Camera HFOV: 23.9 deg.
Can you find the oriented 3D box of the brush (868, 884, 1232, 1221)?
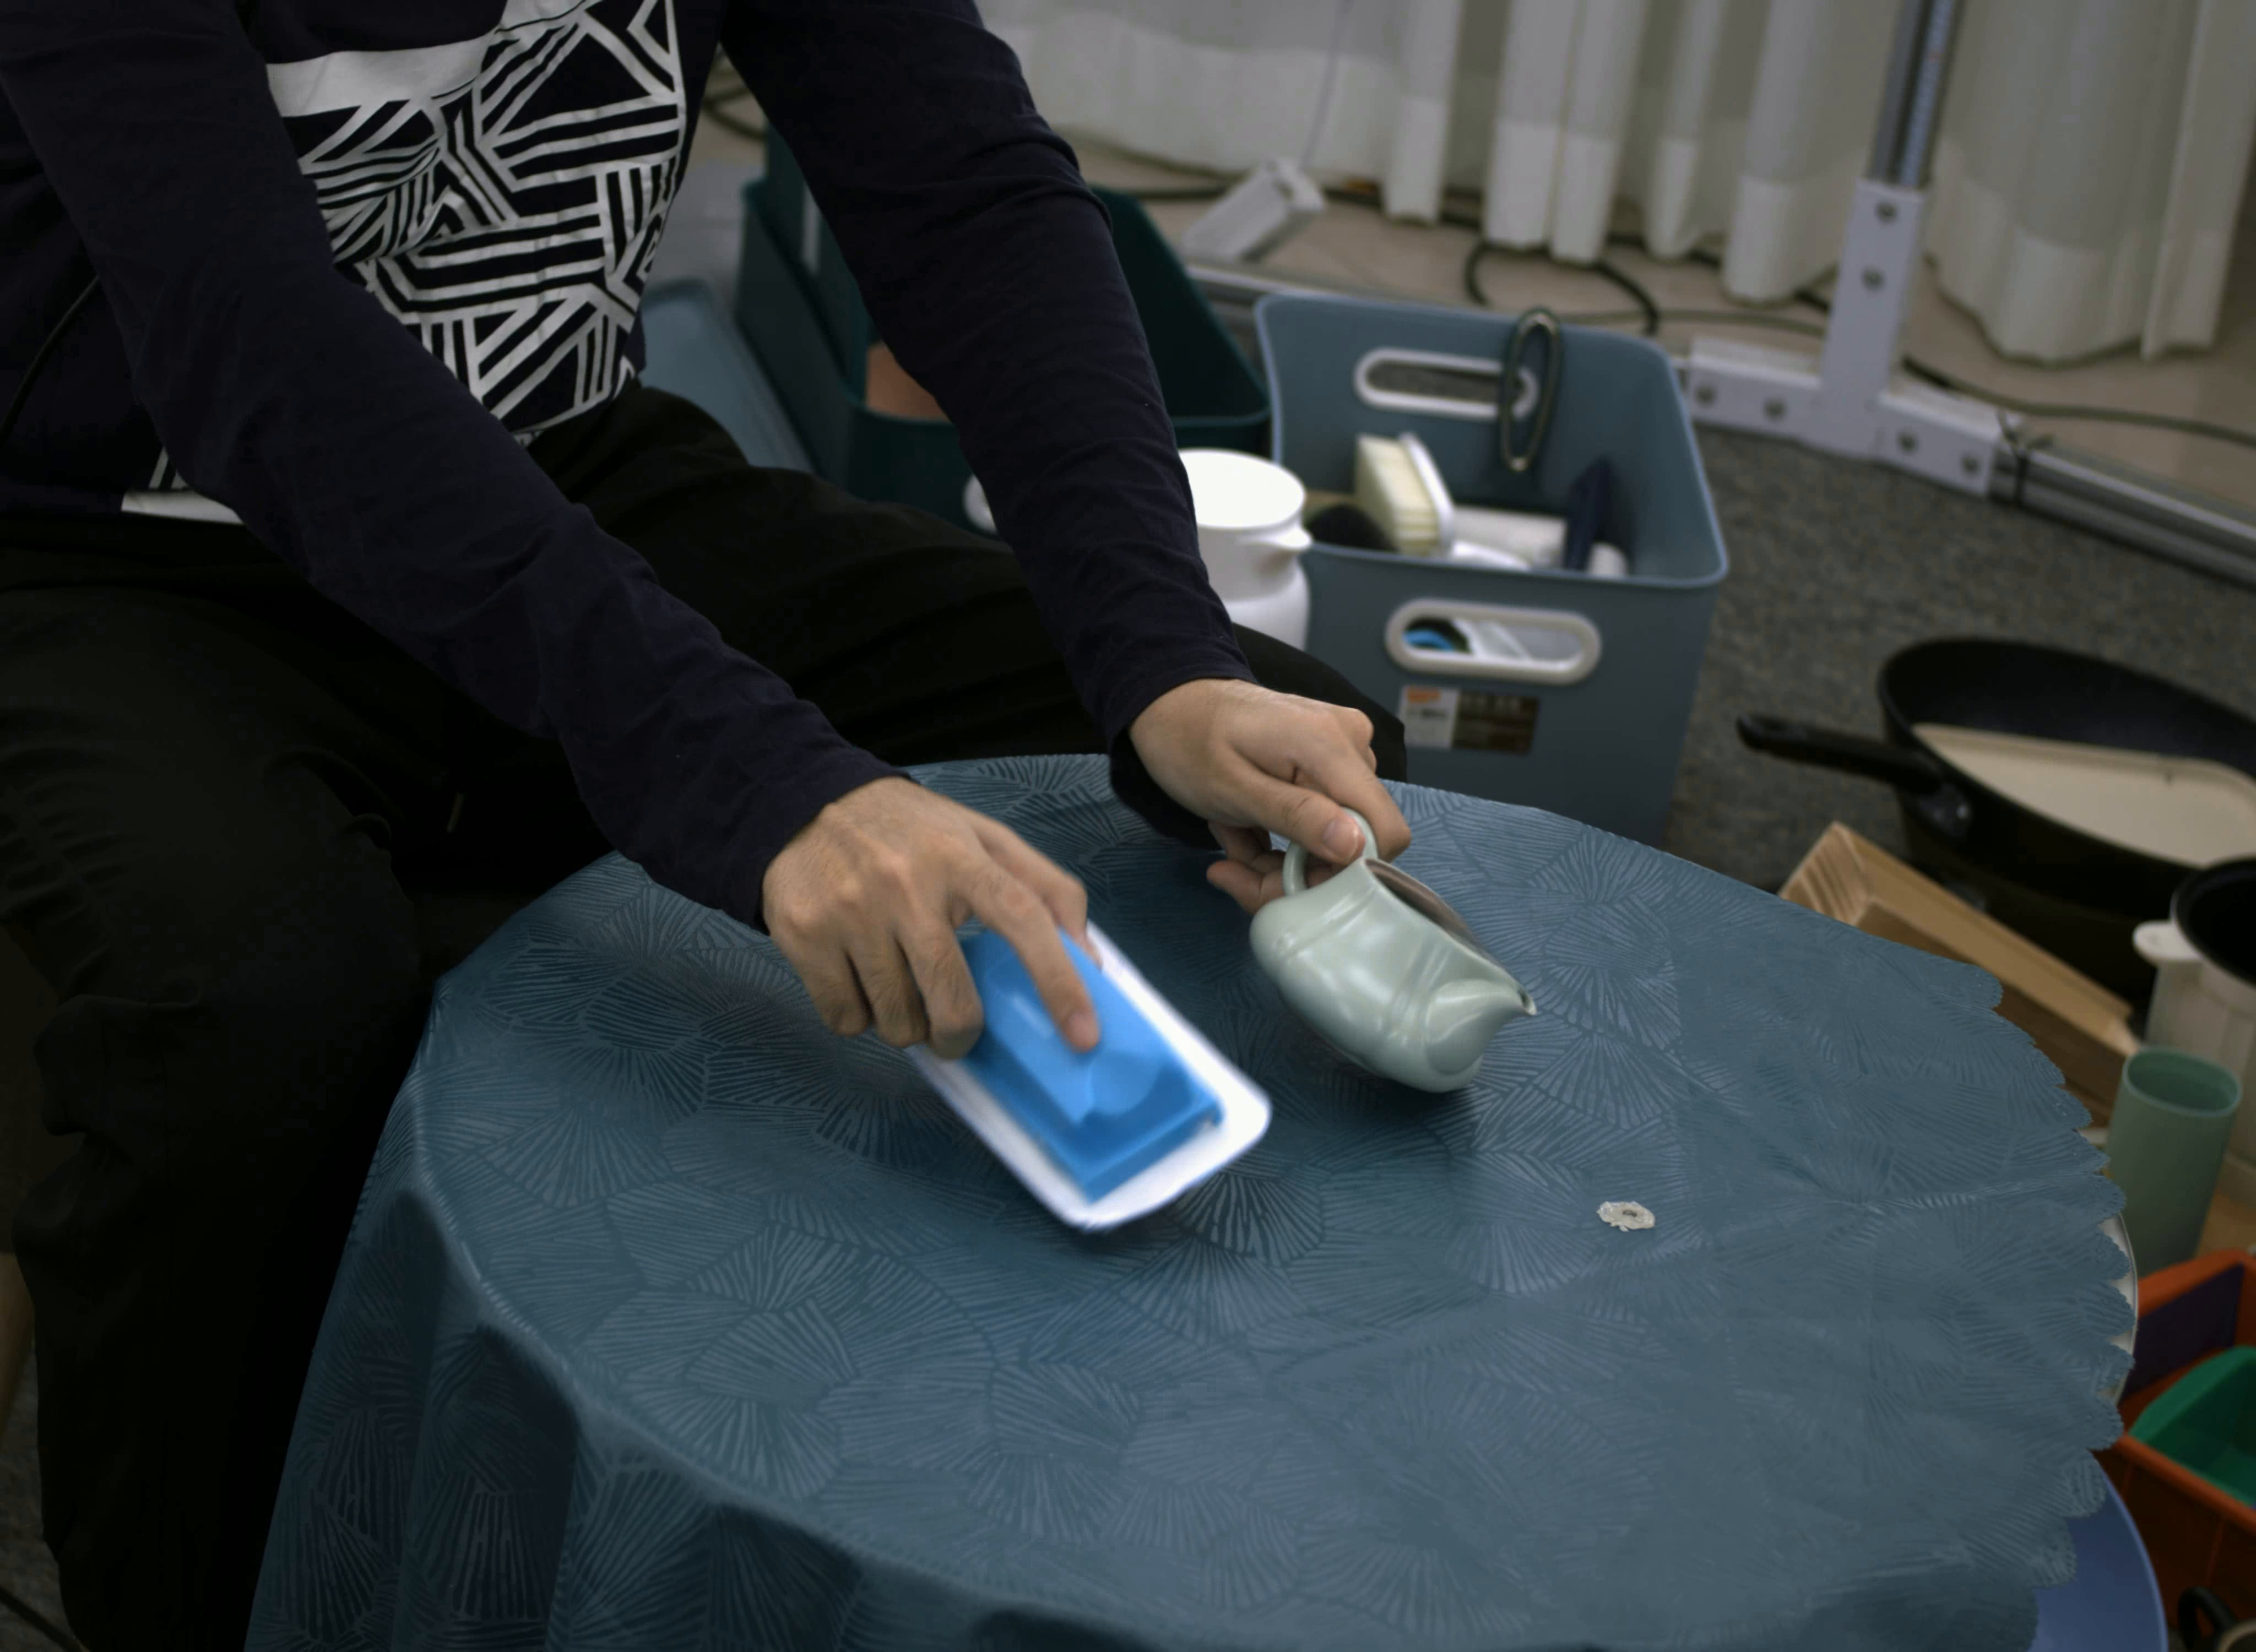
[{"bbox_3d":[-0.028,0.070,1.803,0.083,0.055,0.145,-24,44,-16],"label":"brush"}]

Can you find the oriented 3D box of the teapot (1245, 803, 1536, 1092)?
[{"bbox_3d":[0.089,0.048,1.885,0.095,0.061,0.138,18,22,-44],"label":"teapot"}]
